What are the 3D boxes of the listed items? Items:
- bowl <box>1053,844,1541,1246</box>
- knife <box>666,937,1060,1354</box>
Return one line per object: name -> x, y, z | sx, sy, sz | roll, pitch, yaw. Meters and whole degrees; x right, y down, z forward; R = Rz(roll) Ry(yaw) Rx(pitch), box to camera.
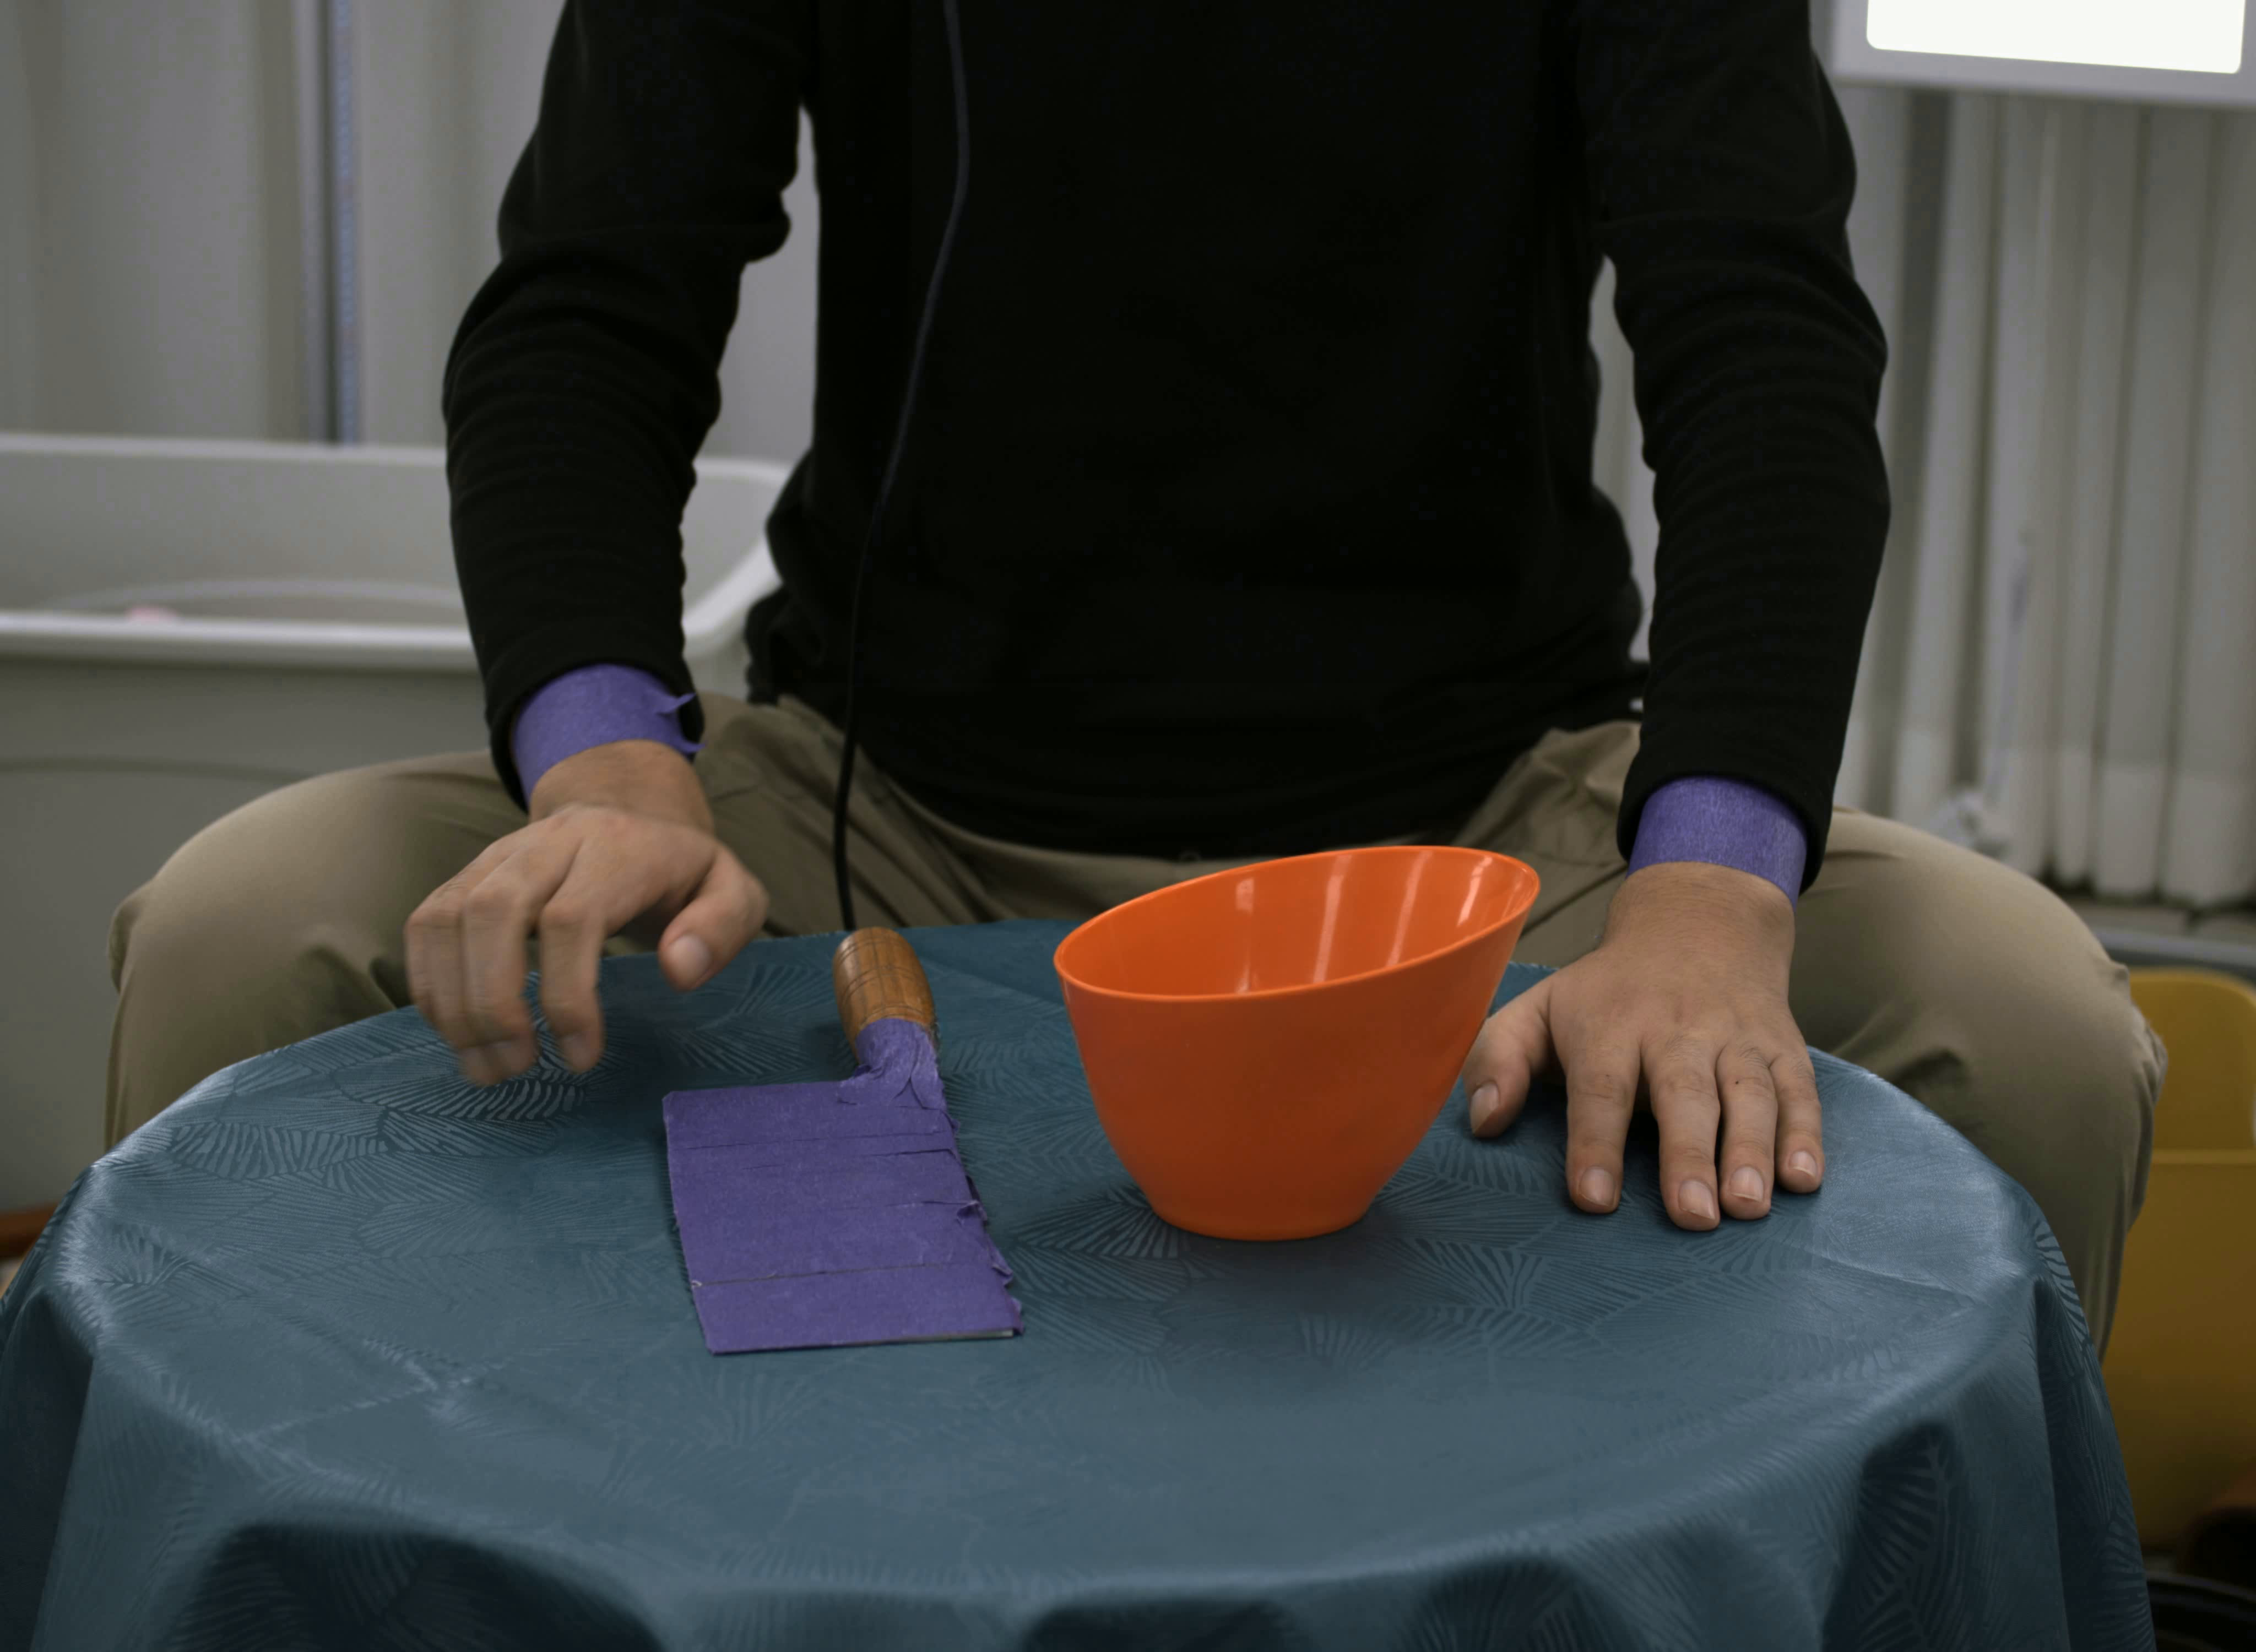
bowl -> 0.051, 0.068, 1.594 | 0.147, 0.105, 0.147 | 0, 17, 1
knife -> -0.094, 0.095, 1.633 | 0.104, 0.032, 0.312 | -2, 16, -9
